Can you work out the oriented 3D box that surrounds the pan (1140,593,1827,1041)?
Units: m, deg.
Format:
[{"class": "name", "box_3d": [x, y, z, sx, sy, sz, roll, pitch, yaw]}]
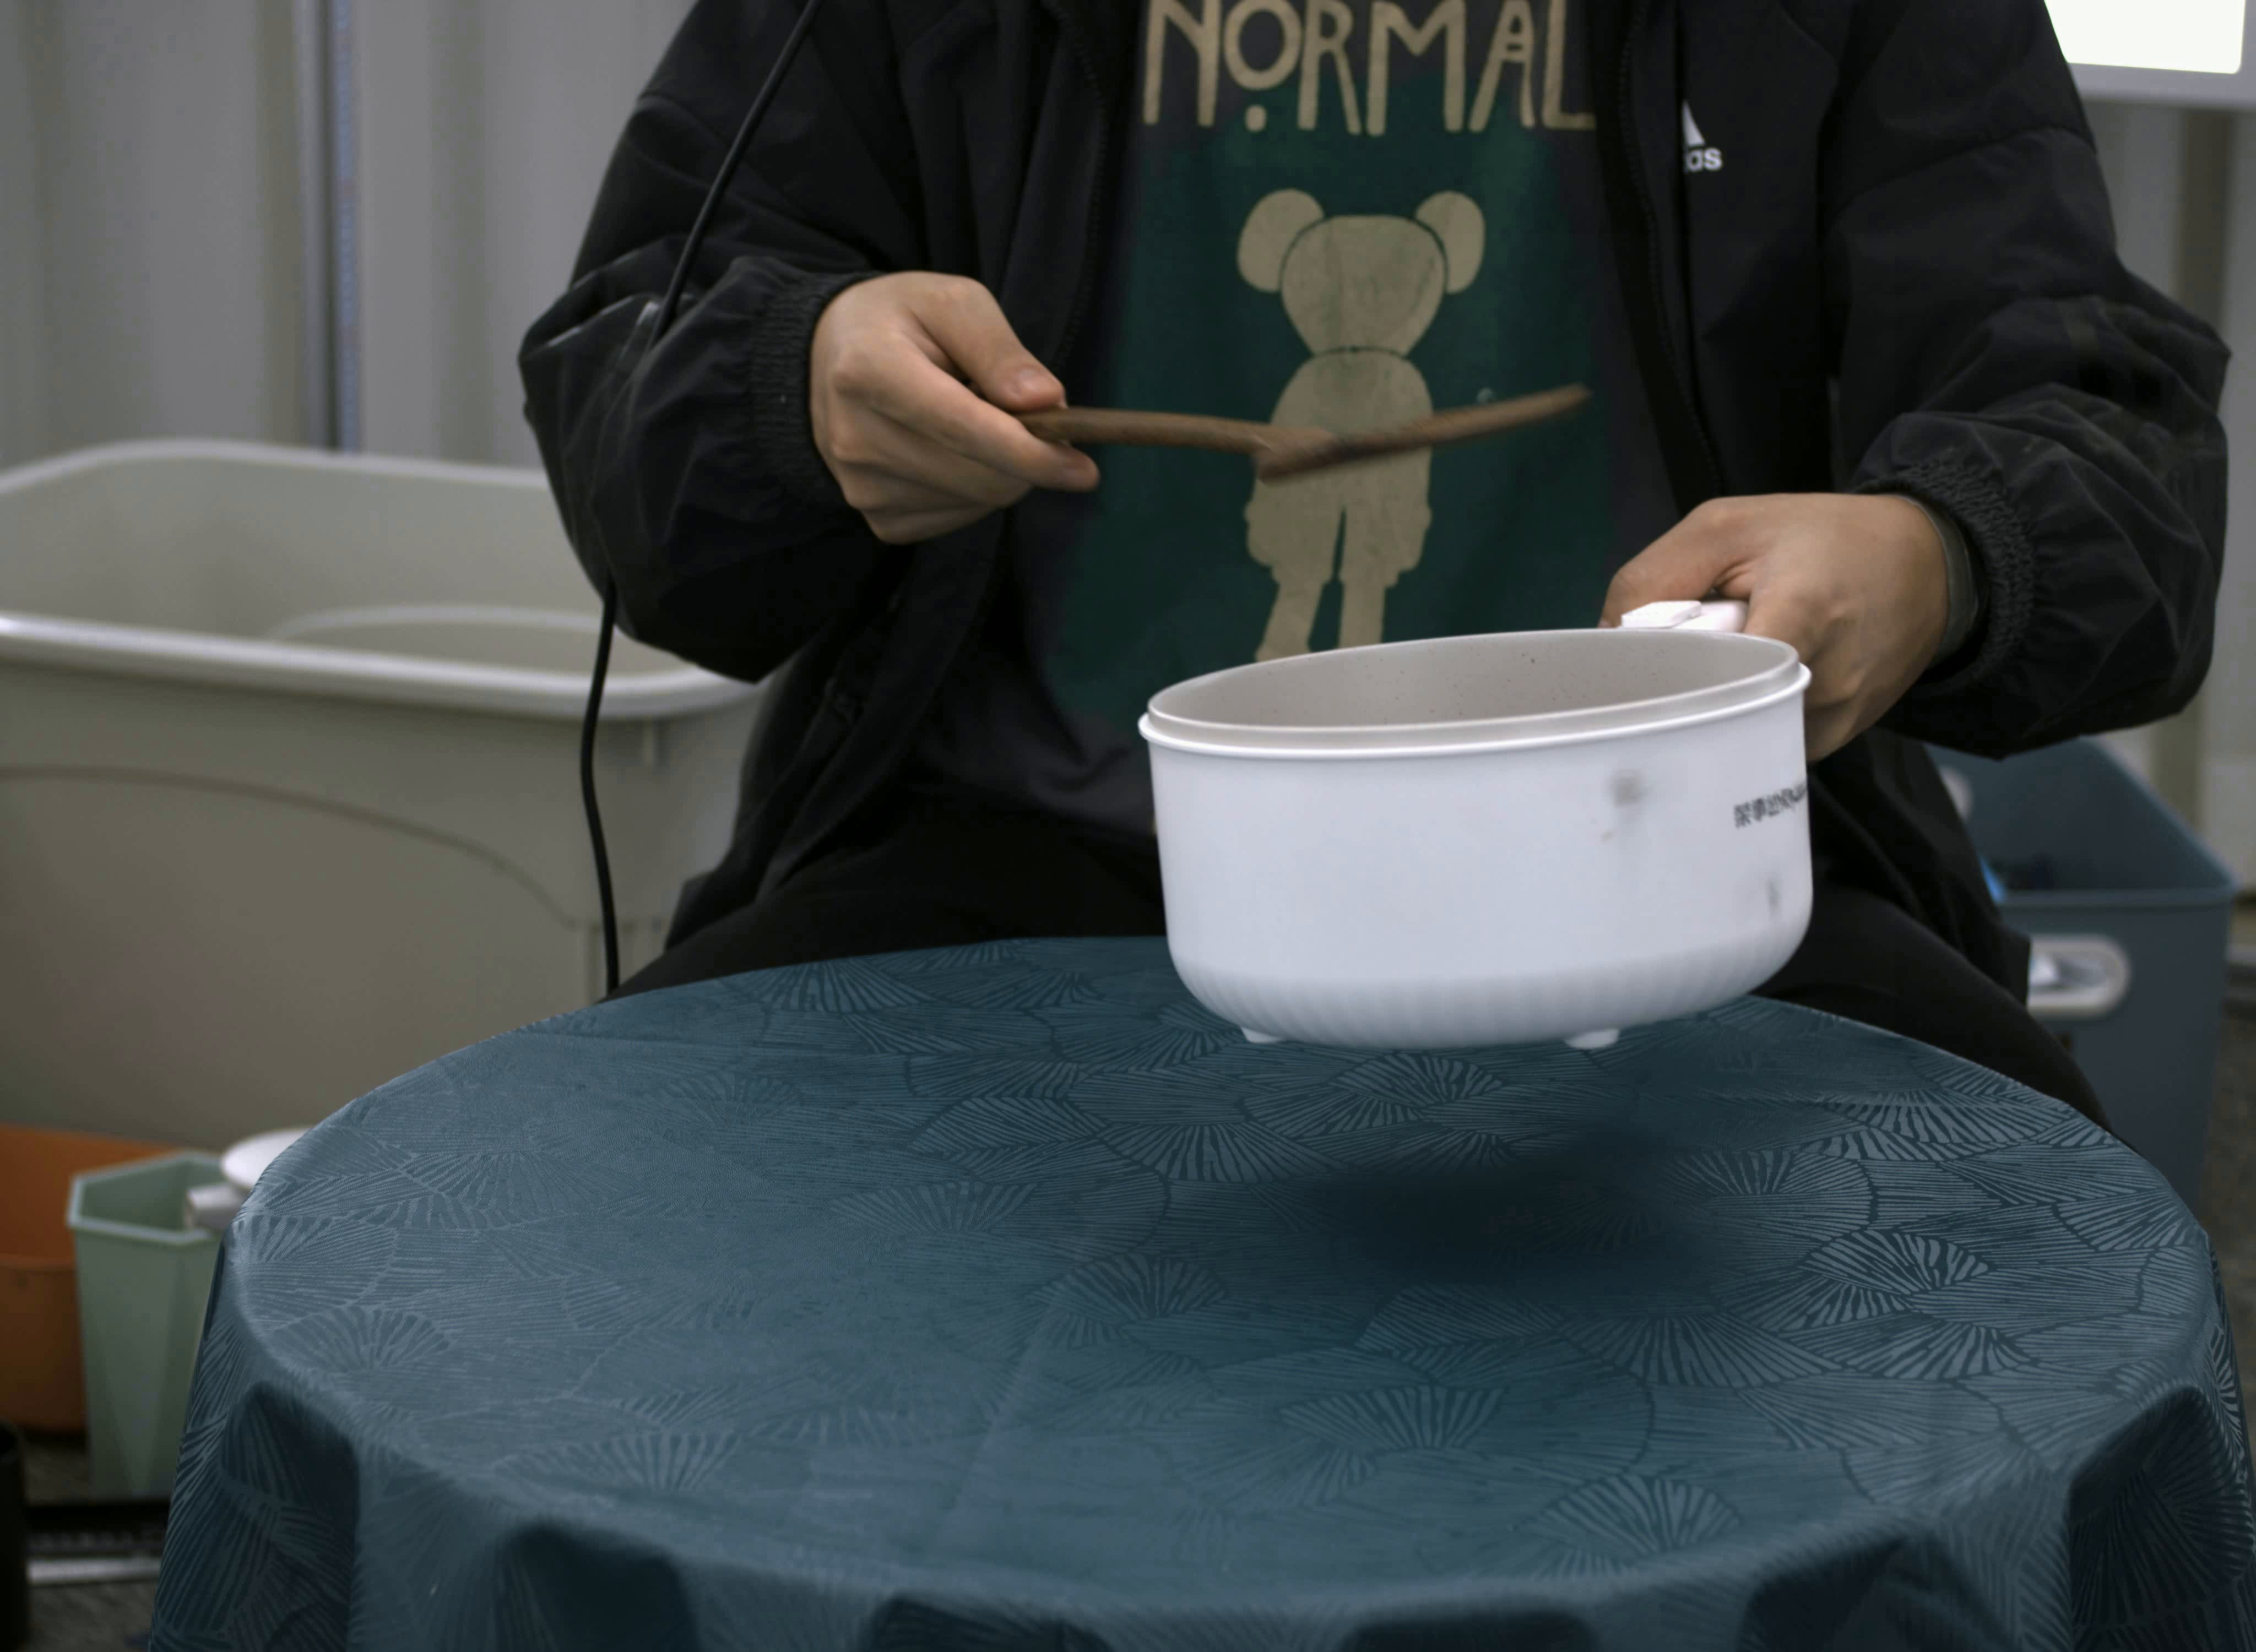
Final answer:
[{"class": "pan", "box_3d": [0.141, -0.007, 1.645, 0.199, 0.102, 0.356, -1, 8, 27]}]

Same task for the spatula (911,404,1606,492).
[{"class": "spatula", "box_3d": [0.020, -0.125, 1.702, 0.096, 0.016, 0.382, -15, 12, -27]}]
